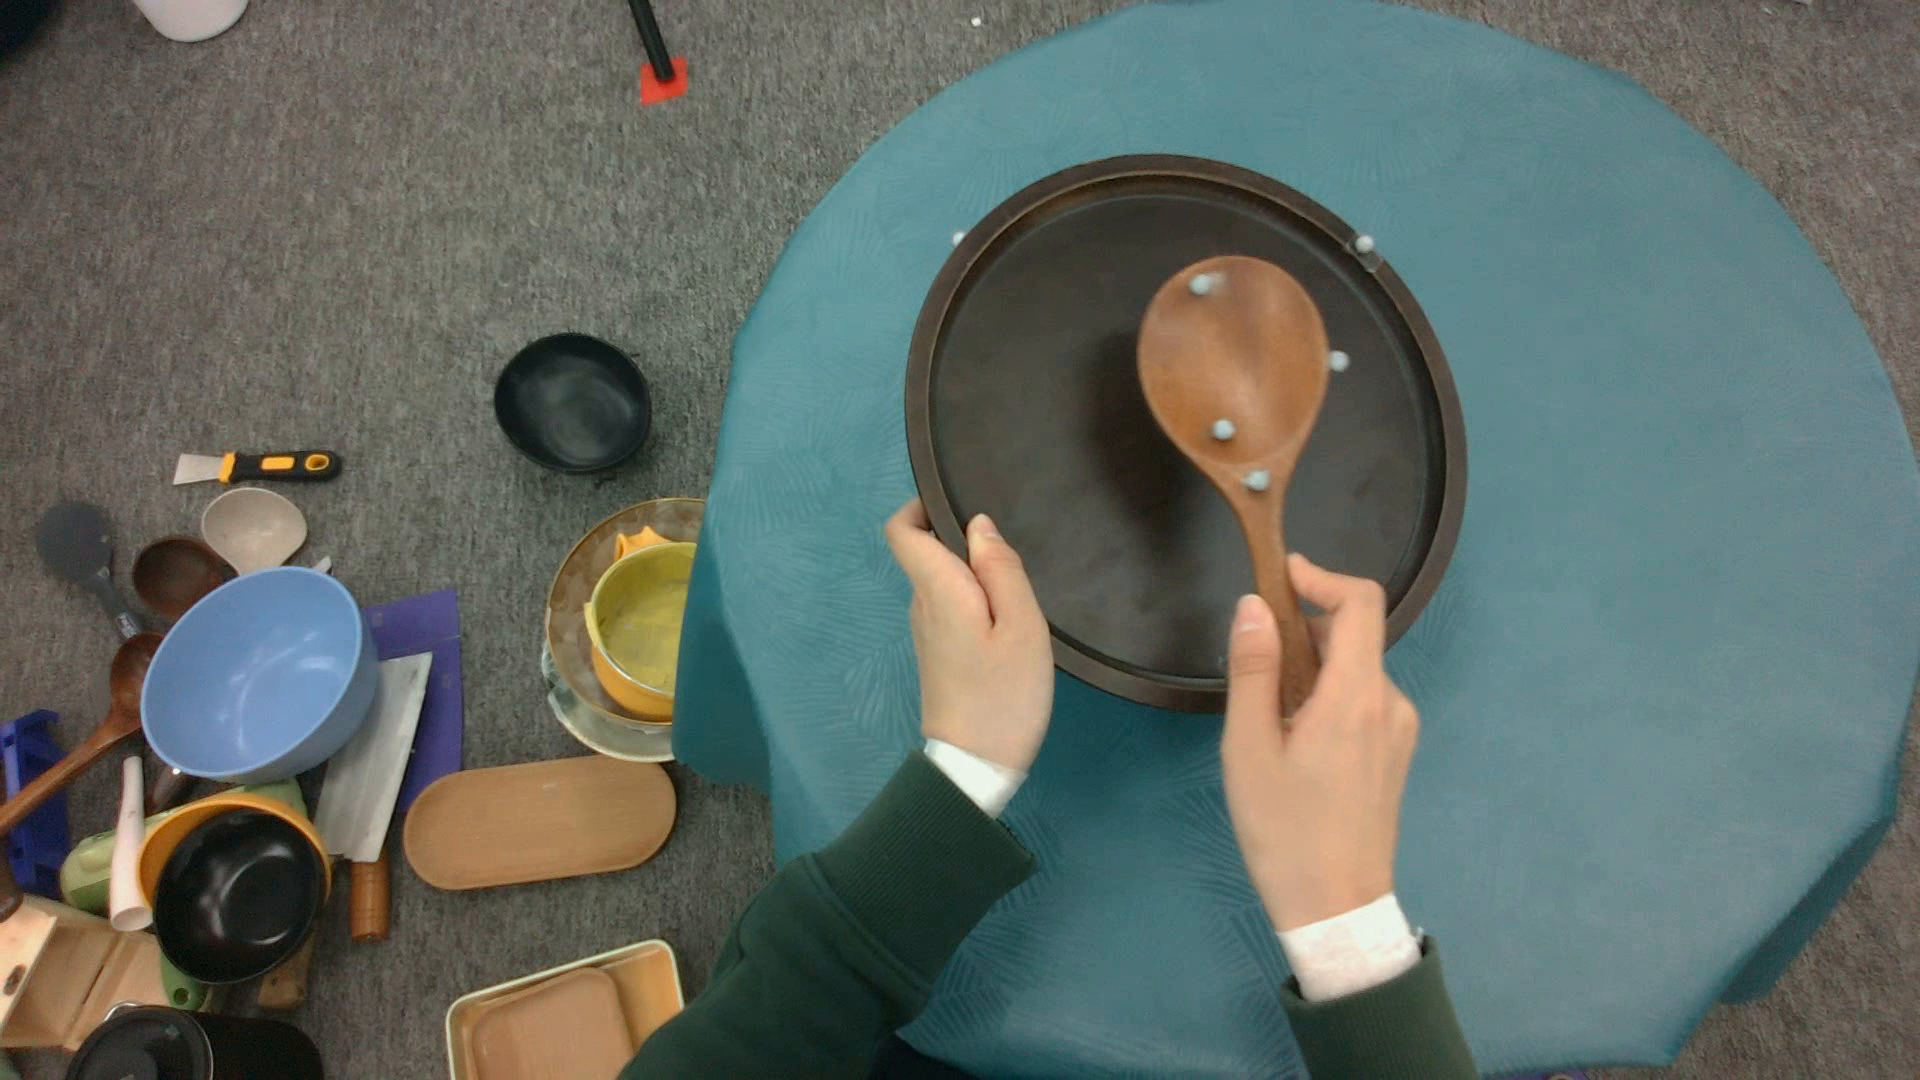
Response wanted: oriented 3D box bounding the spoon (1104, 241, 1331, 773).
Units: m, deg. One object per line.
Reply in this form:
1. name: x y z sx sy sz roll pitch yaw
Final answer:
1. spoon: 0.107 -0.017 0.535 0.075 0.017 0.216 -11 73 3

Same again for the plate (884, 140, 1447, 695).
1. plate: 0.091 -0.057 0.599 0.255 0.029 0.255 4 73 -11
